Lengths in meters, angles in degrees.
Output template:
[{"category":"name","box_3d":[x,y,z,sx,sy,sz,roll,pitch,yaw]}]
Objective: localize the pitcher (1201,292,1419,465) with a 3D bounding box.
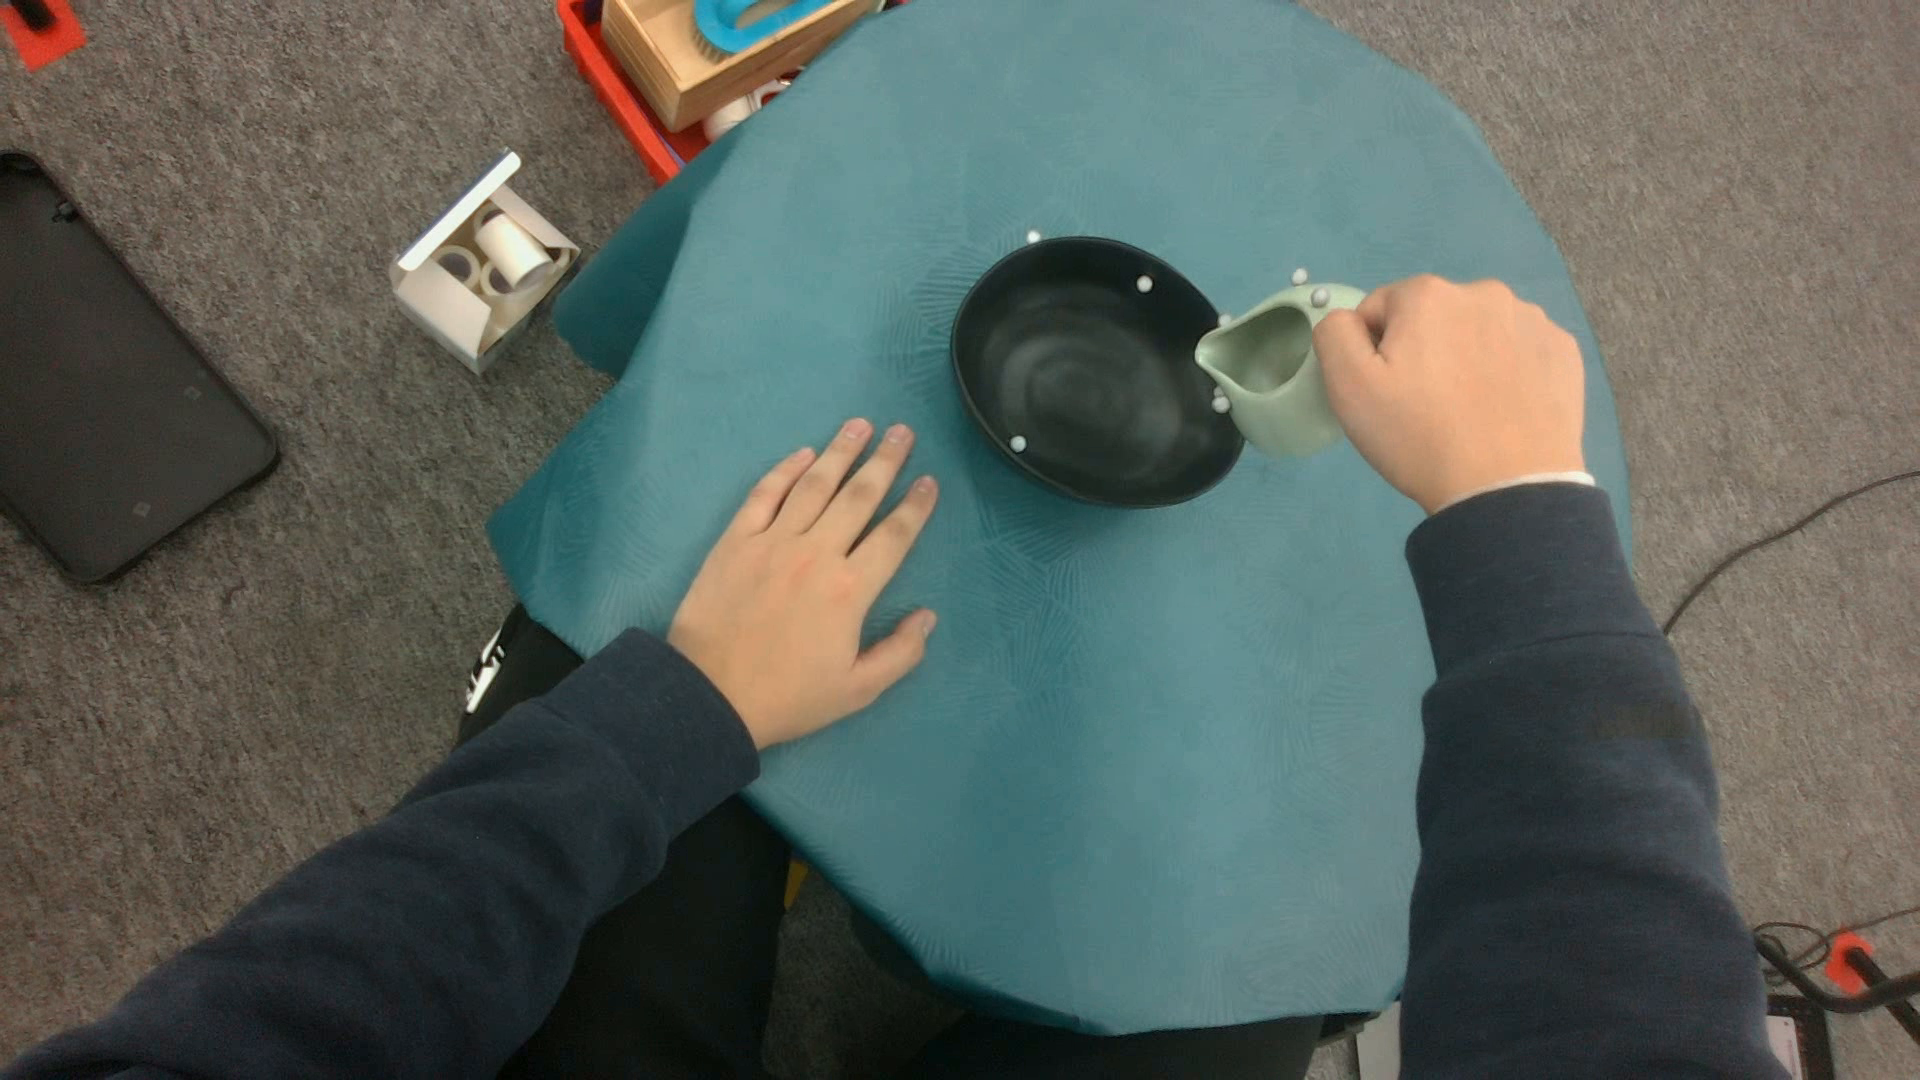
[{"category":"pitcher","box_3d":[0.171,-0.080,0.649,0.060,0.107,0.086,18,78,-36]}]

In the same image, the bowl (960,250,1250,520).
[{"category":"bowl","box_3d":[0.074,-0.076,0.735,0.170,0.066,0.137,20,77,-14]}]
